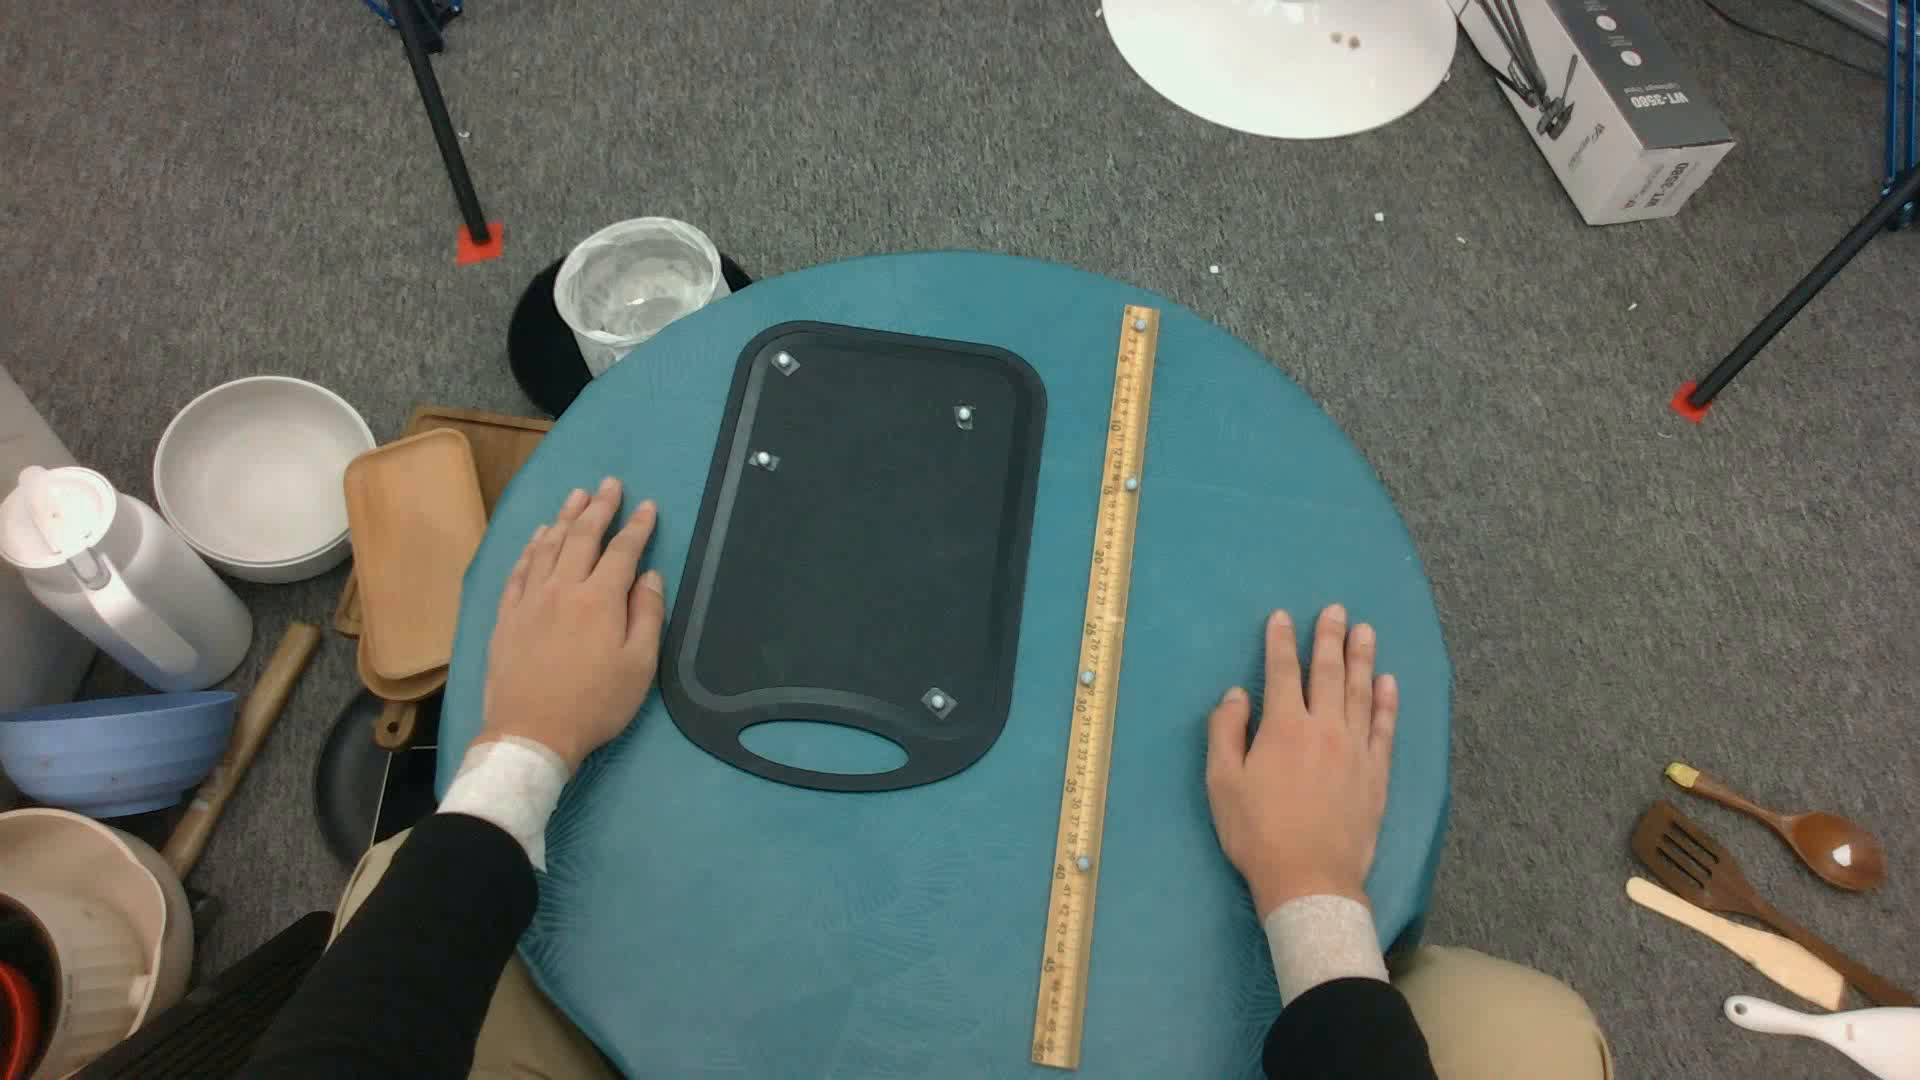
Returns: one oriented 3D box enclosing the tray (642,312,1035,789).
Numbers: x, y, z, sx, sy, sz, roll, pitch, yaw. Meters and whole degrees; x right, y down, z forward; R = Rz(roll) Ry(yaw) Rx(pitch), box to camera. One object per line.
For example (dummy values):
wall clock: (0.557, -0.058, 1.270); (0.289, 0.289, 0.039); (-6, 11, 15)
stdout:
tray: (-0.069, -0.004, 0.856); (0.211, 0.010, 0.327); (9, 62, 1)

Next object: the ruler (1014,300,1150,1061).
ruler: (0.079, 0.053, 0.837); (0.027, 0.006, 0.502); (9, 62, 2)
